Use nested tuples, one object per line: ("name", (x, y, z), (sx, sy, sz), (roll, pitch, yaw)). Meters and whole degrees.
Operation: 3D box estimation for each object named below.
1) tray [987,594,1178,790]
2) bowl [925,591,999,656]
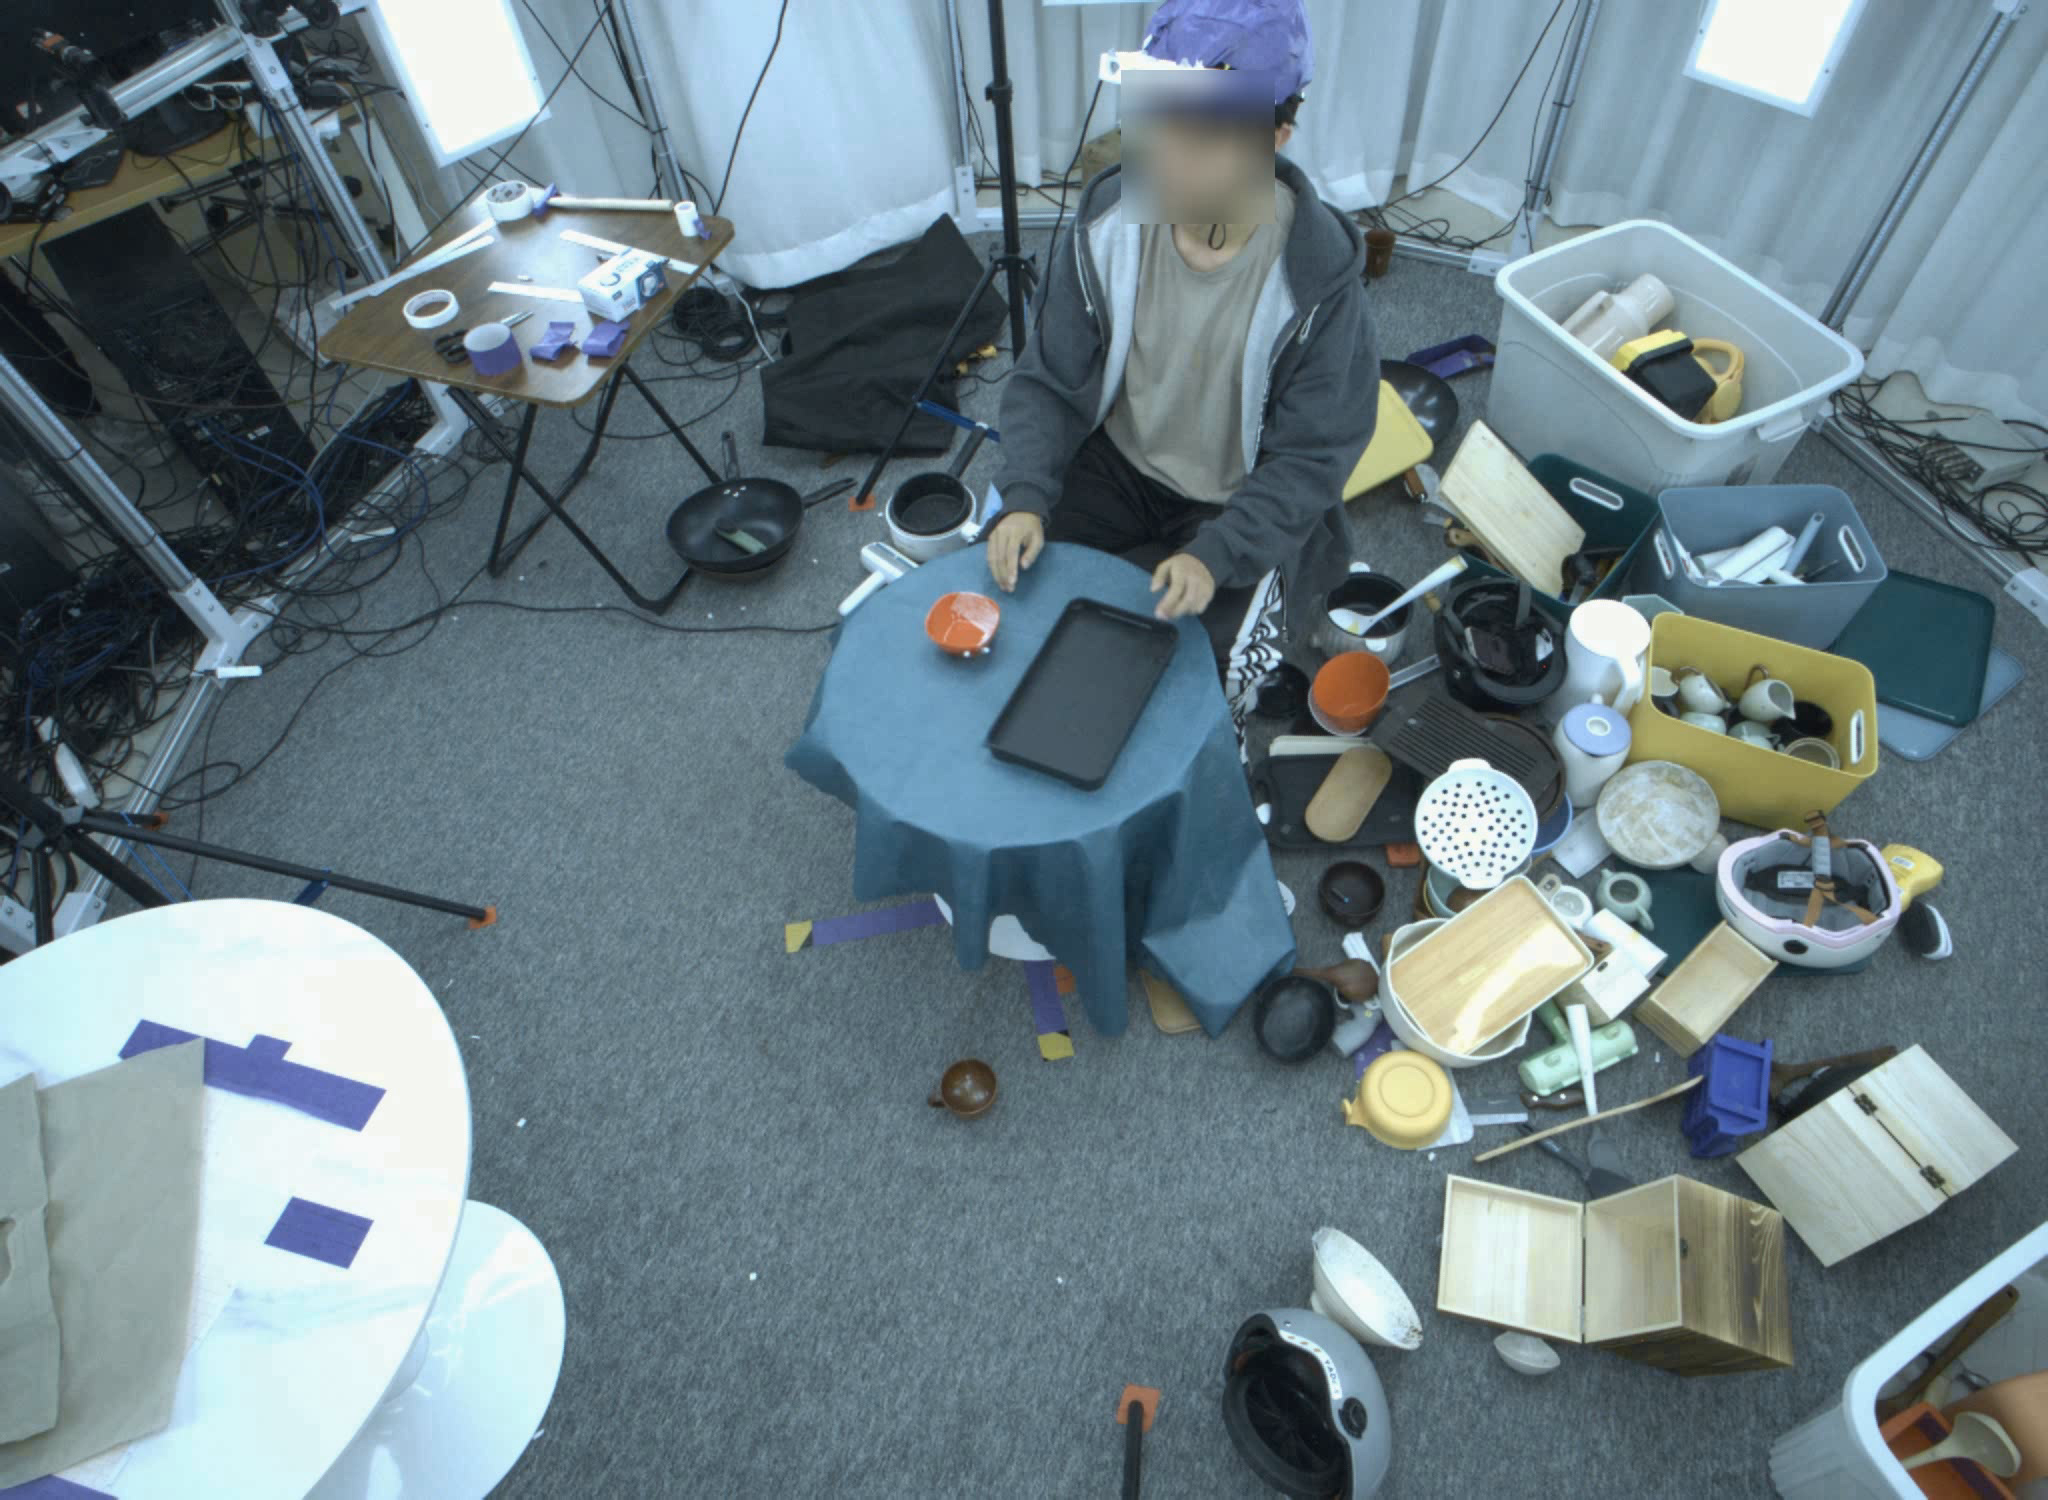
("tray", (0.091, -0.092, 1.828), (0.182, 0.037, 0.318), (20, 59, 16))
("bowl", (-0.094, -0.188, 1.893), (0.119, 0.052, 0.118), (0, 55, 2))
